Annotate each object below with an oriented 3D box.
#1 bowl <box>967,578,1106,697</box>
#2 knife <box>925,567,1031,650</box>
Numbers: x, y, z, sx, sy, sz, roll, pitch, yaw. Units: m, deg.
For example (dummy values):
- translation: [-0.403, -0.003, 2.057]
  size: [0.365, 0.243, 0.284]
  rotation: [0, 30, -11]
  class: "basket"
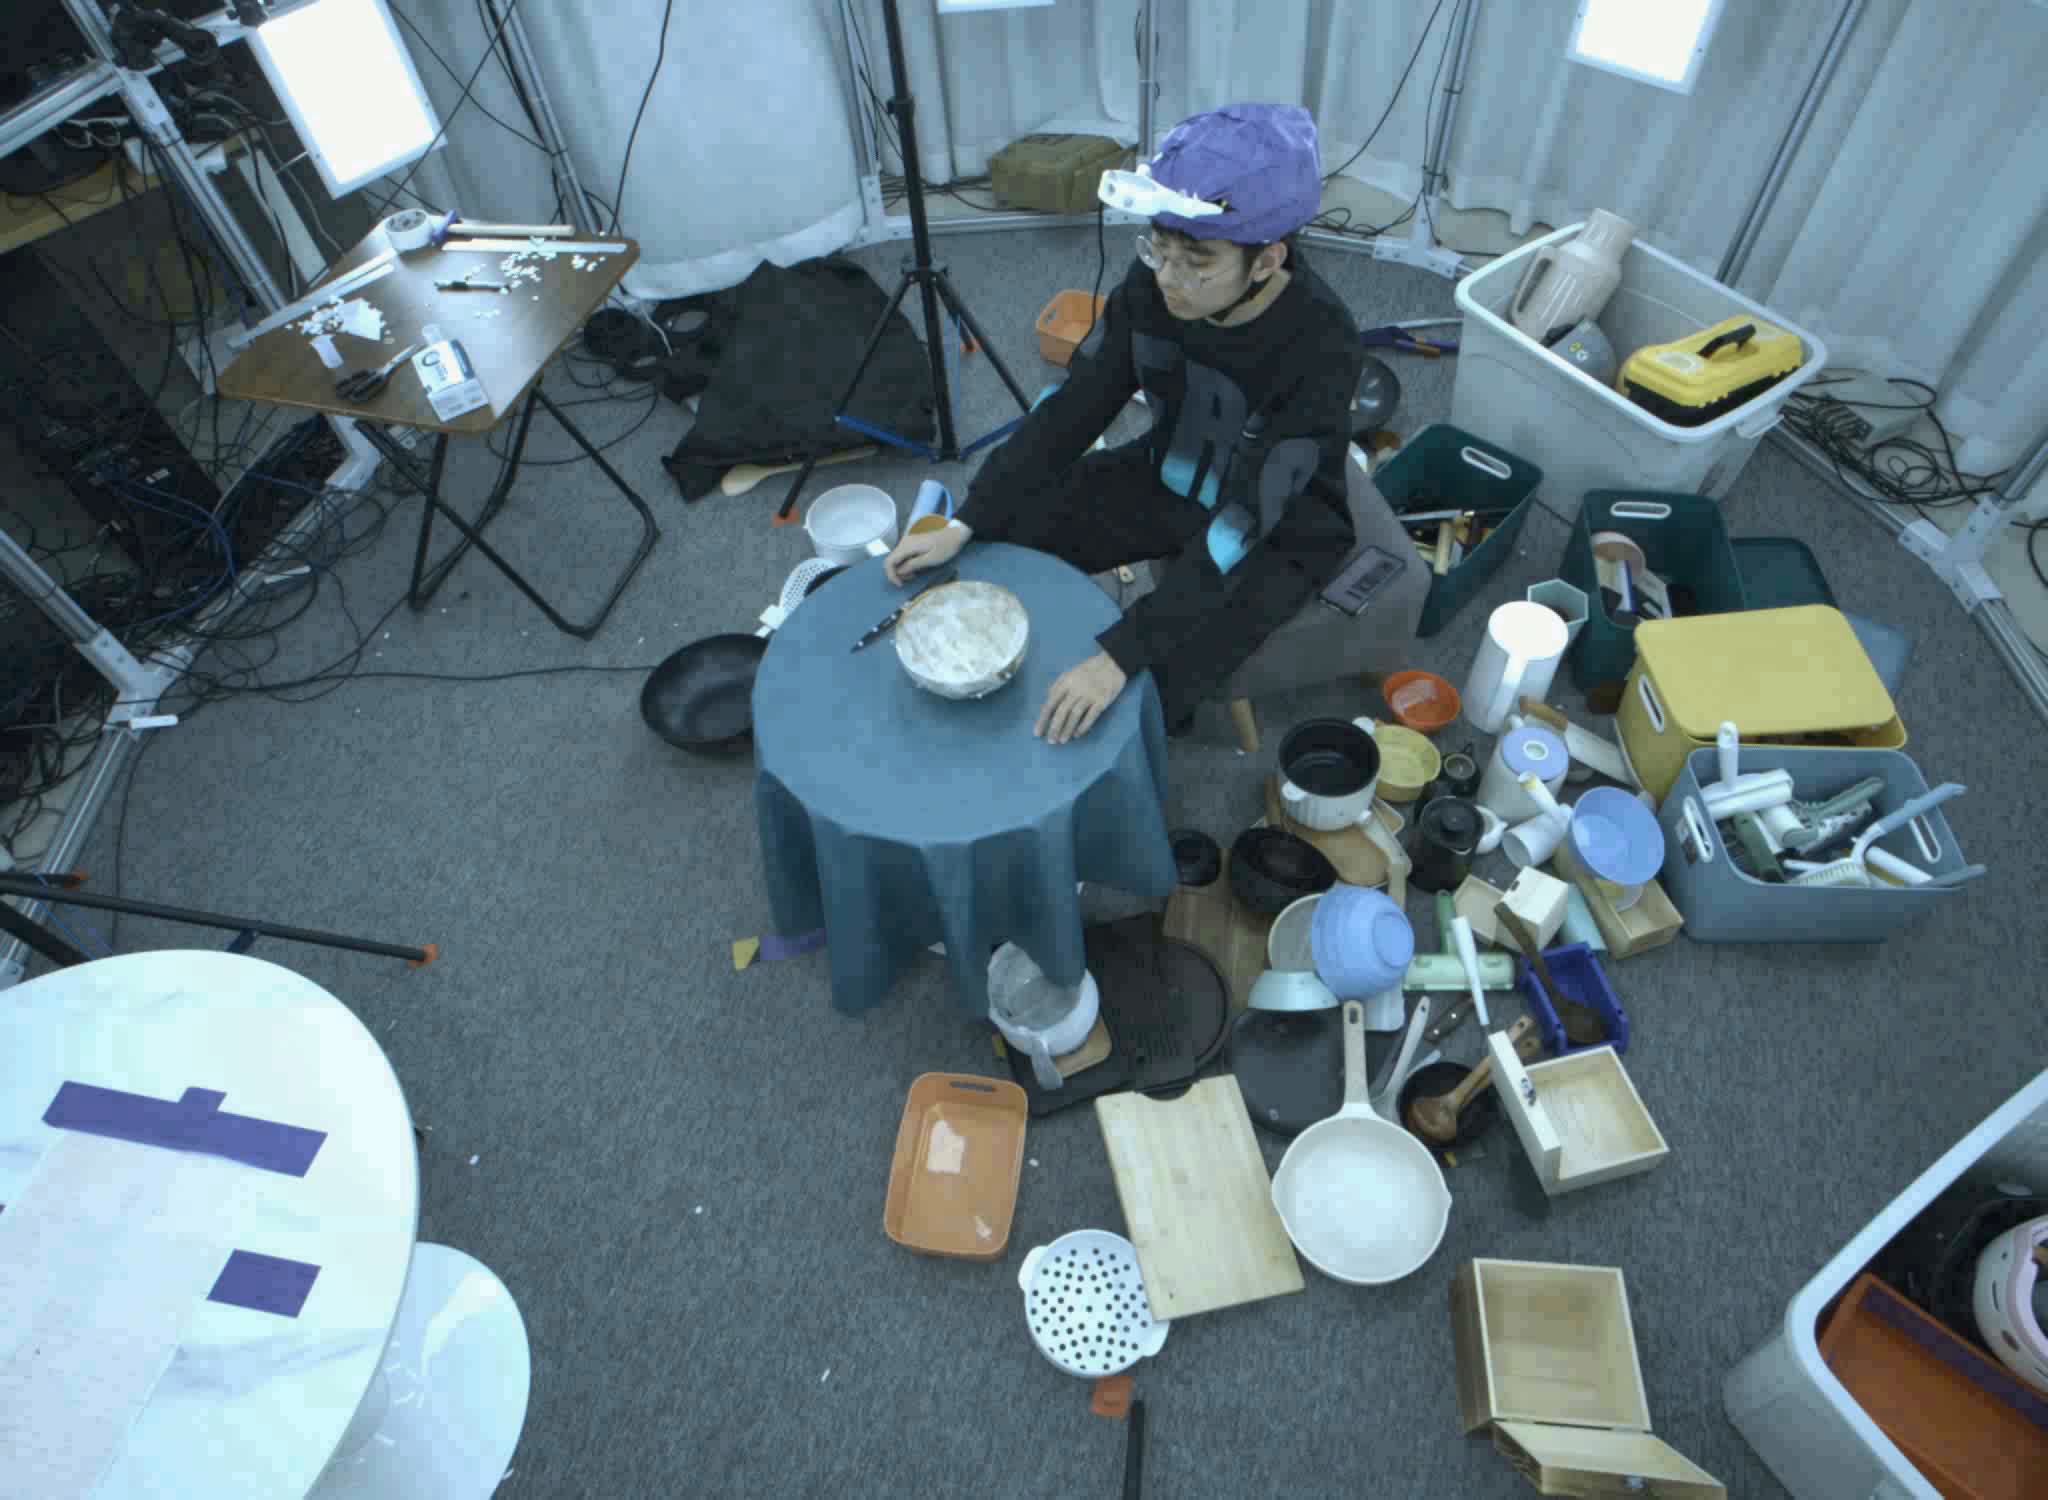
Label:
- translation: [0.023, -0.154, 1.836]
  size: [0.214, 0.096, 0.212]
  rotation: [-1, 54, 3]
  class: "bowl"
- translation: [-0.074, -0.225, 1.943]
  size: [0.227, 0.017, 0.026]
  rotation: [-38, 68, -21]
  class: "knife"
